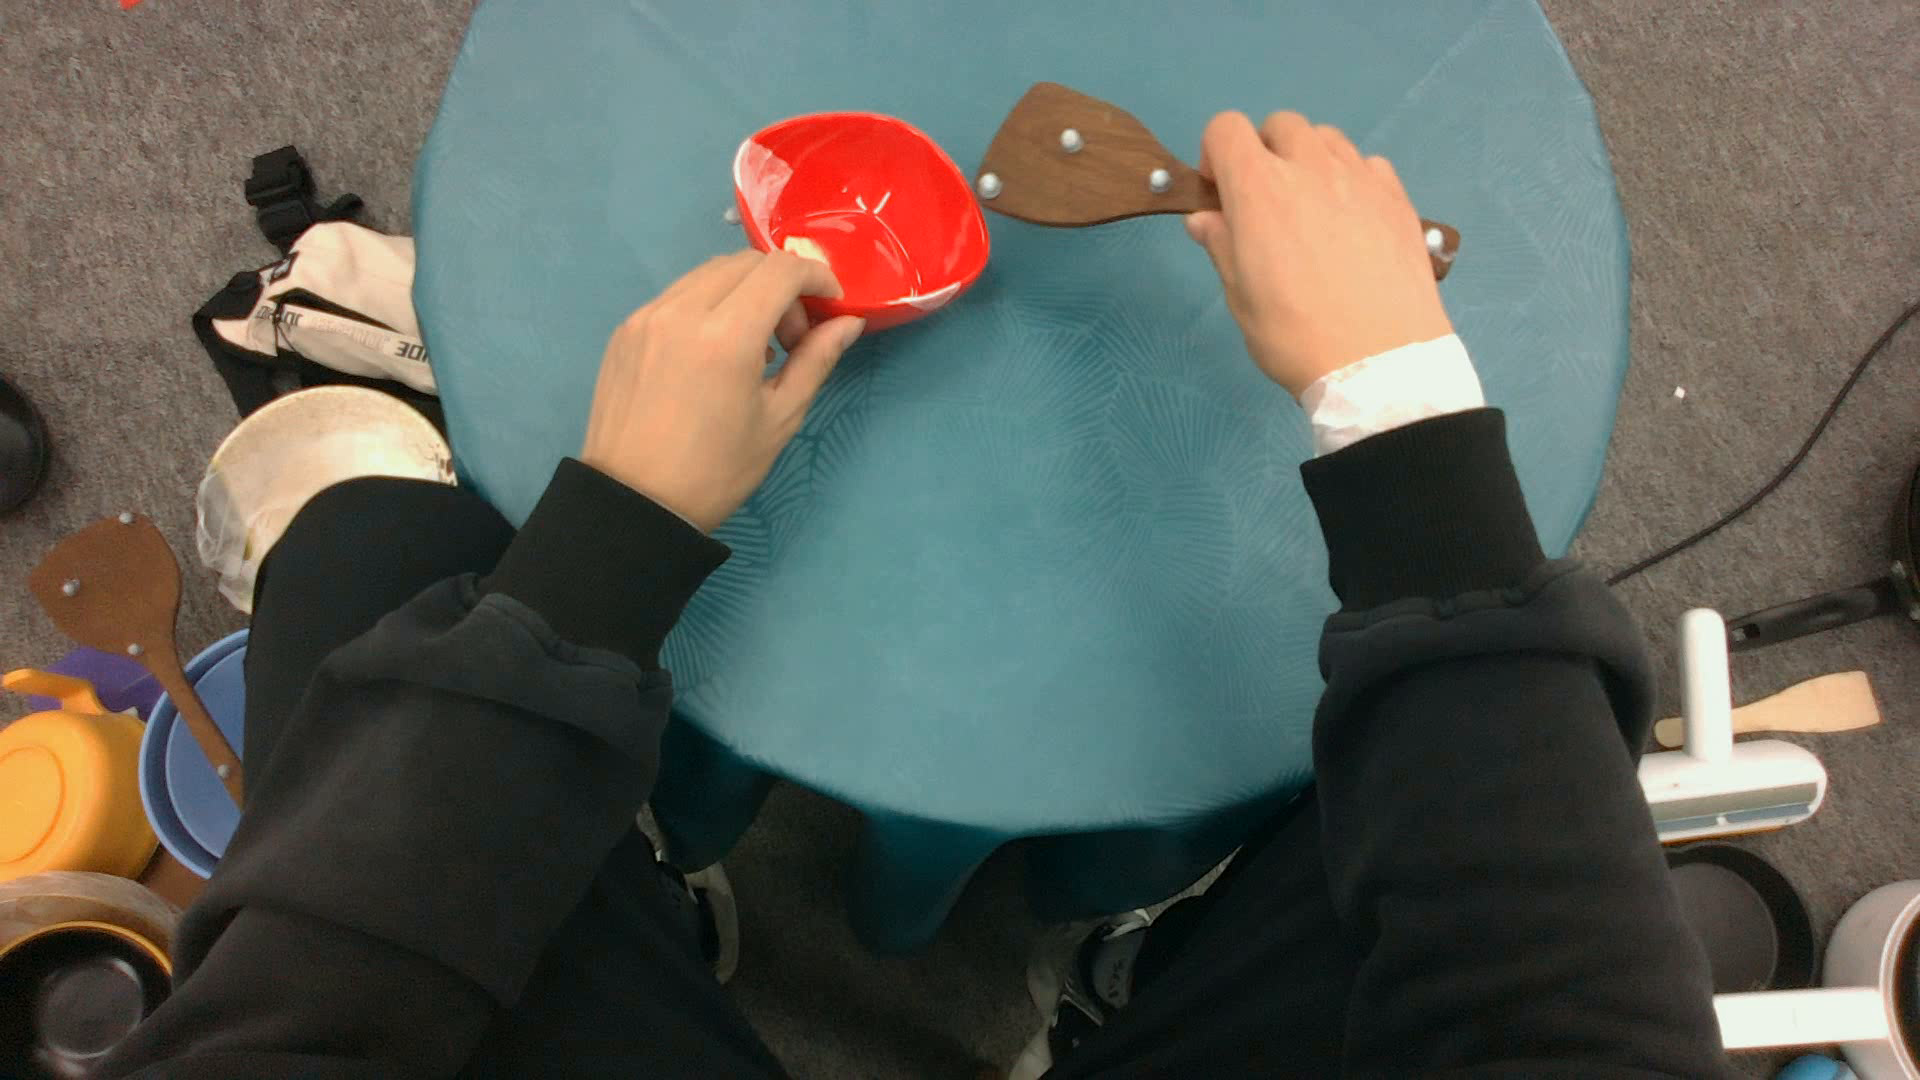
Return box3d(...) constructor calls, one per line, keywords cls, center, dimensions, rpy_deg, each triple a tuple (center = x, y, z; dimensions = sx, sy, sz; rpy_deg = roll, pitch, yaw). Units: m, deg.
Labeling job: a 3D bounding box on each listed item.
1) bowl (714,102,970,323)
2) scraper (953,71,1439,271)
box3d(cls="bowl", center=(-0.058, -0.142, 0.632), dimensions=(0.119, 0.051, 0.119), rpy_deg=(10, 56, -15))
box3d(cls="scraper", center=(0.099, -0.153, 0.594), dimensions=(0.211, 0.011, 0.076), rpy_deg=(21, 70, 21))
